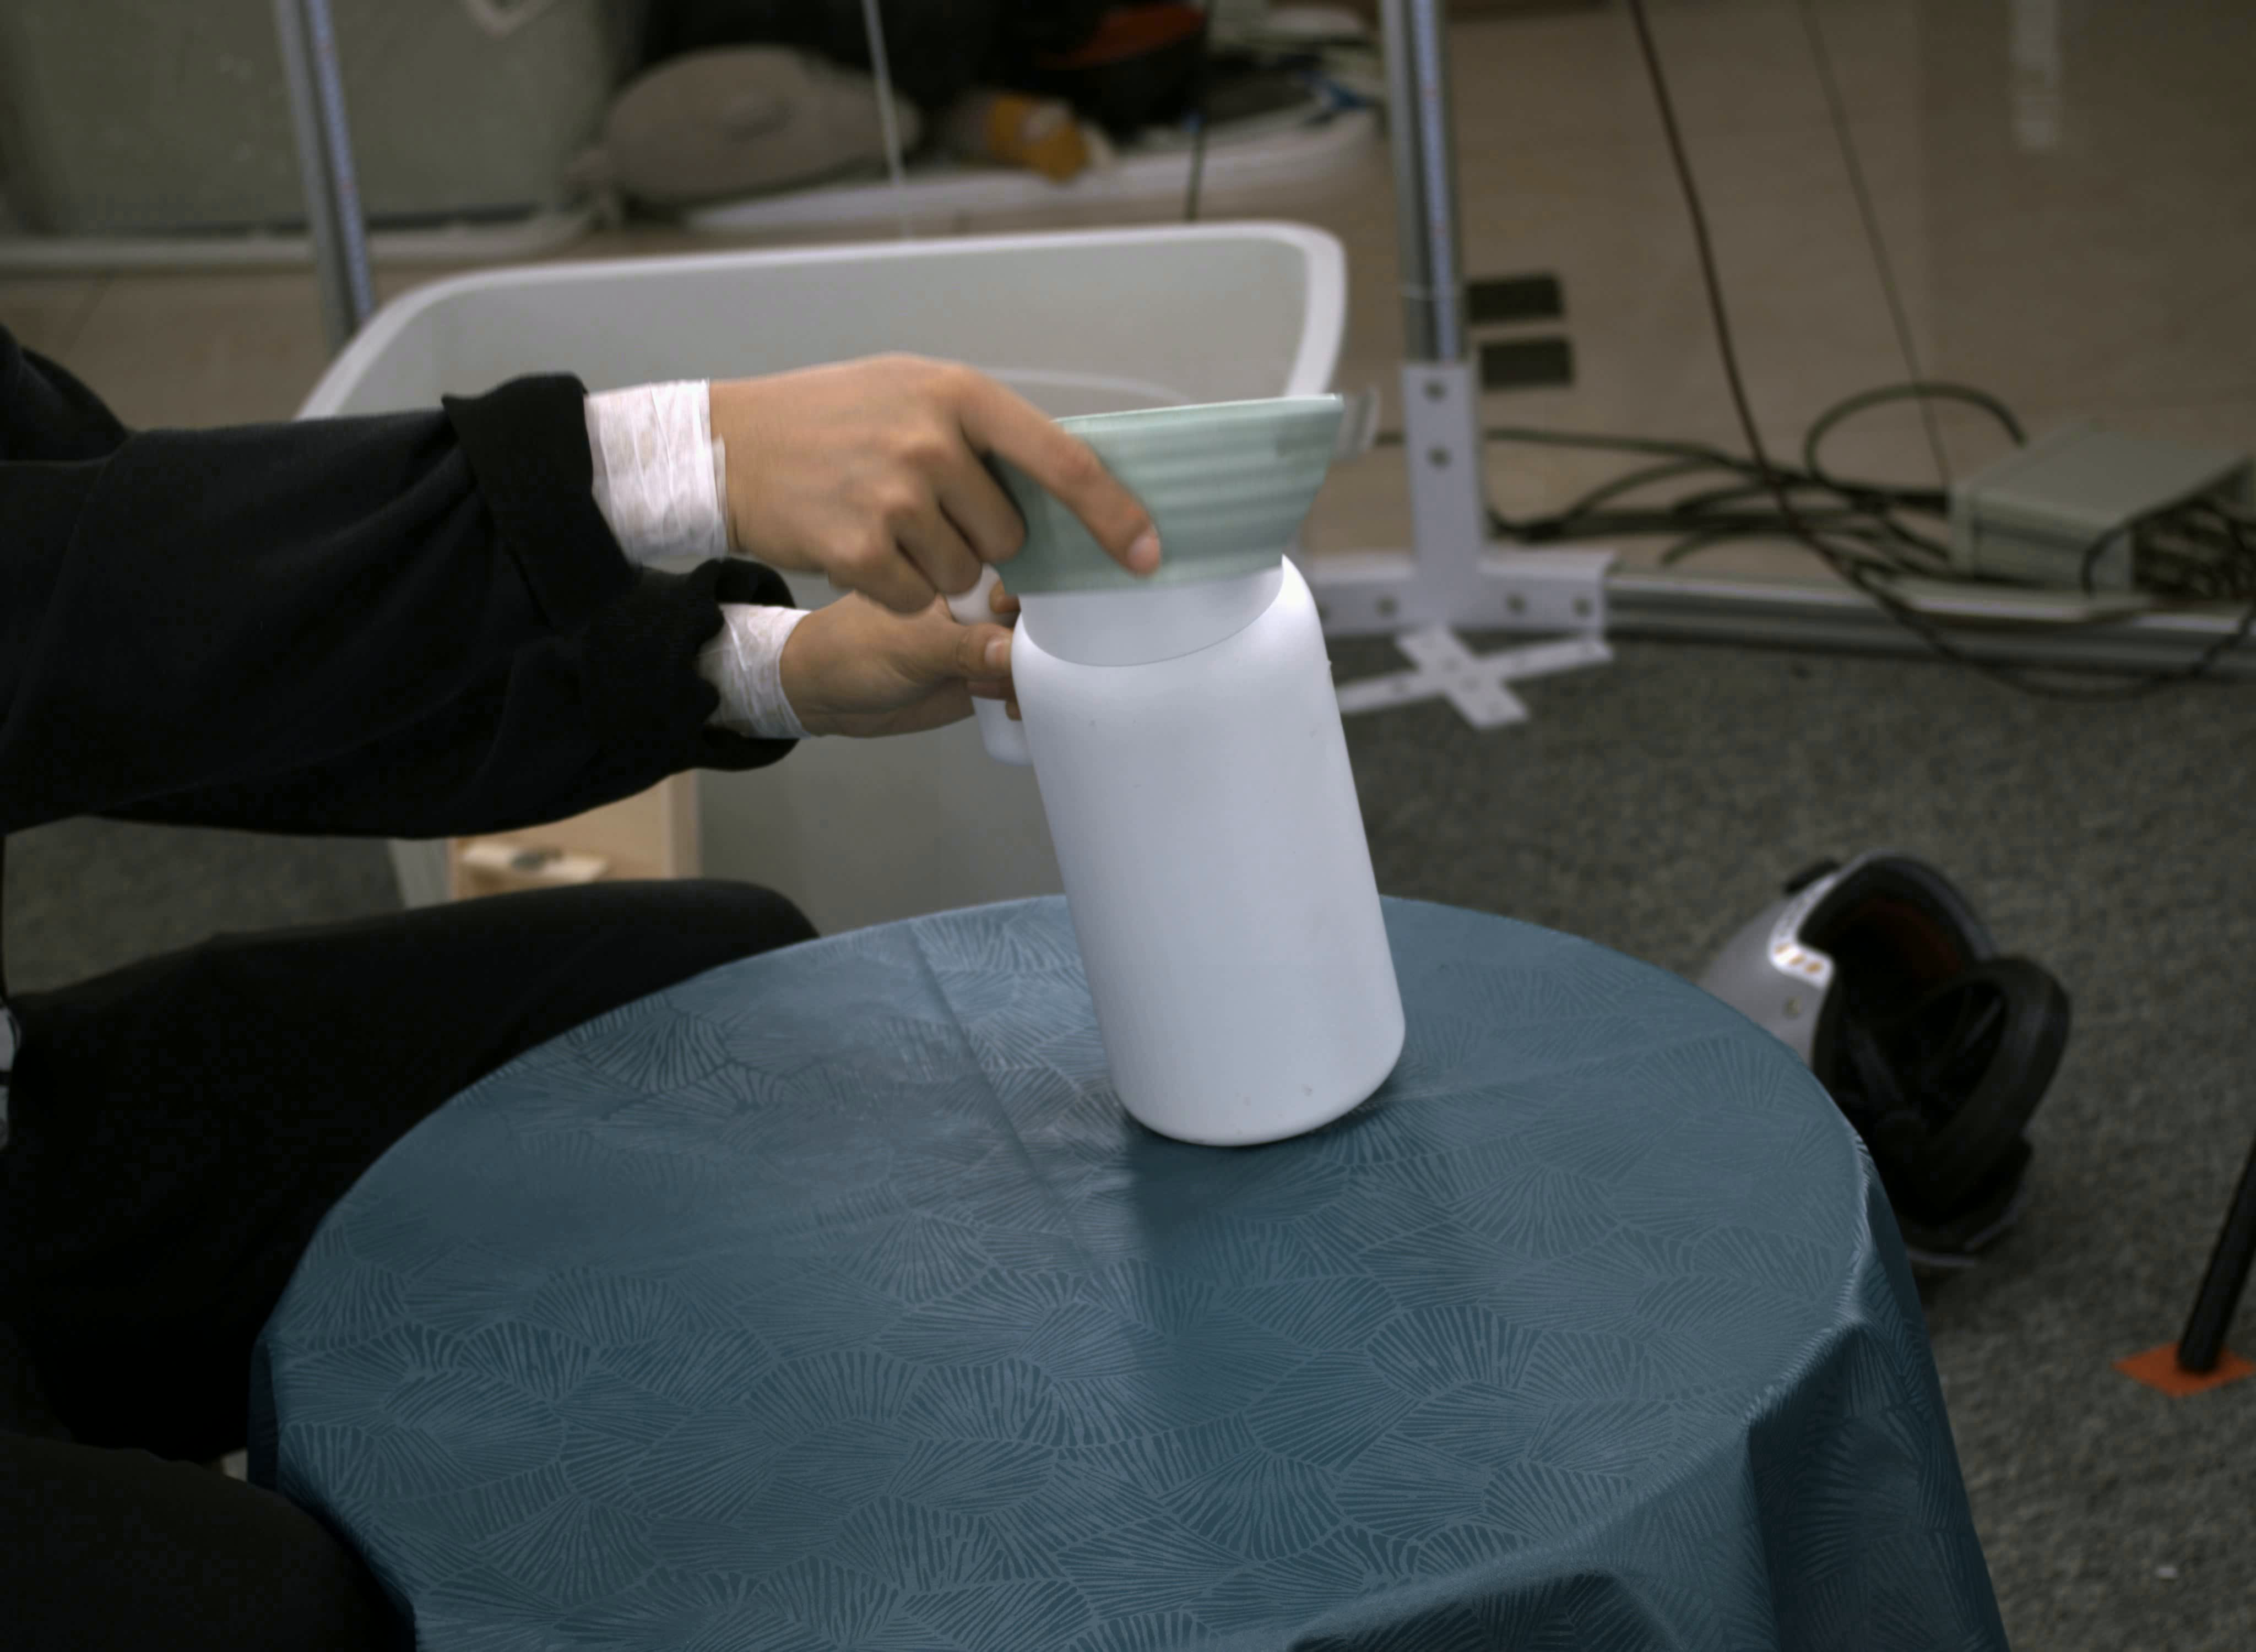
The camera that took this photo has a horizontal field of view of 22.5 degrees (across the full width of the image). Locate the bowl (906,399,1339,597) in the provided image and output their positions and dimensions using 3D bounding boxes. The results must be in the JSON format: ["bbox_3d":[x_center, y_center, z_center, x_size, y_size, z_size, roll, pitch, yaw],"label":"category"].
[{"bbox_3d":[0.001,-0.112,1.953,0.151,0.059,0.151,-6,4,1],"label":"bowl"}]

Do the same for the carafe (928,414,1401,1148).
[{"bbox_3d":[0.012,-0.018,2.151,0.171,0.274,0.122,18,47,39],"label":"carafe"}]
